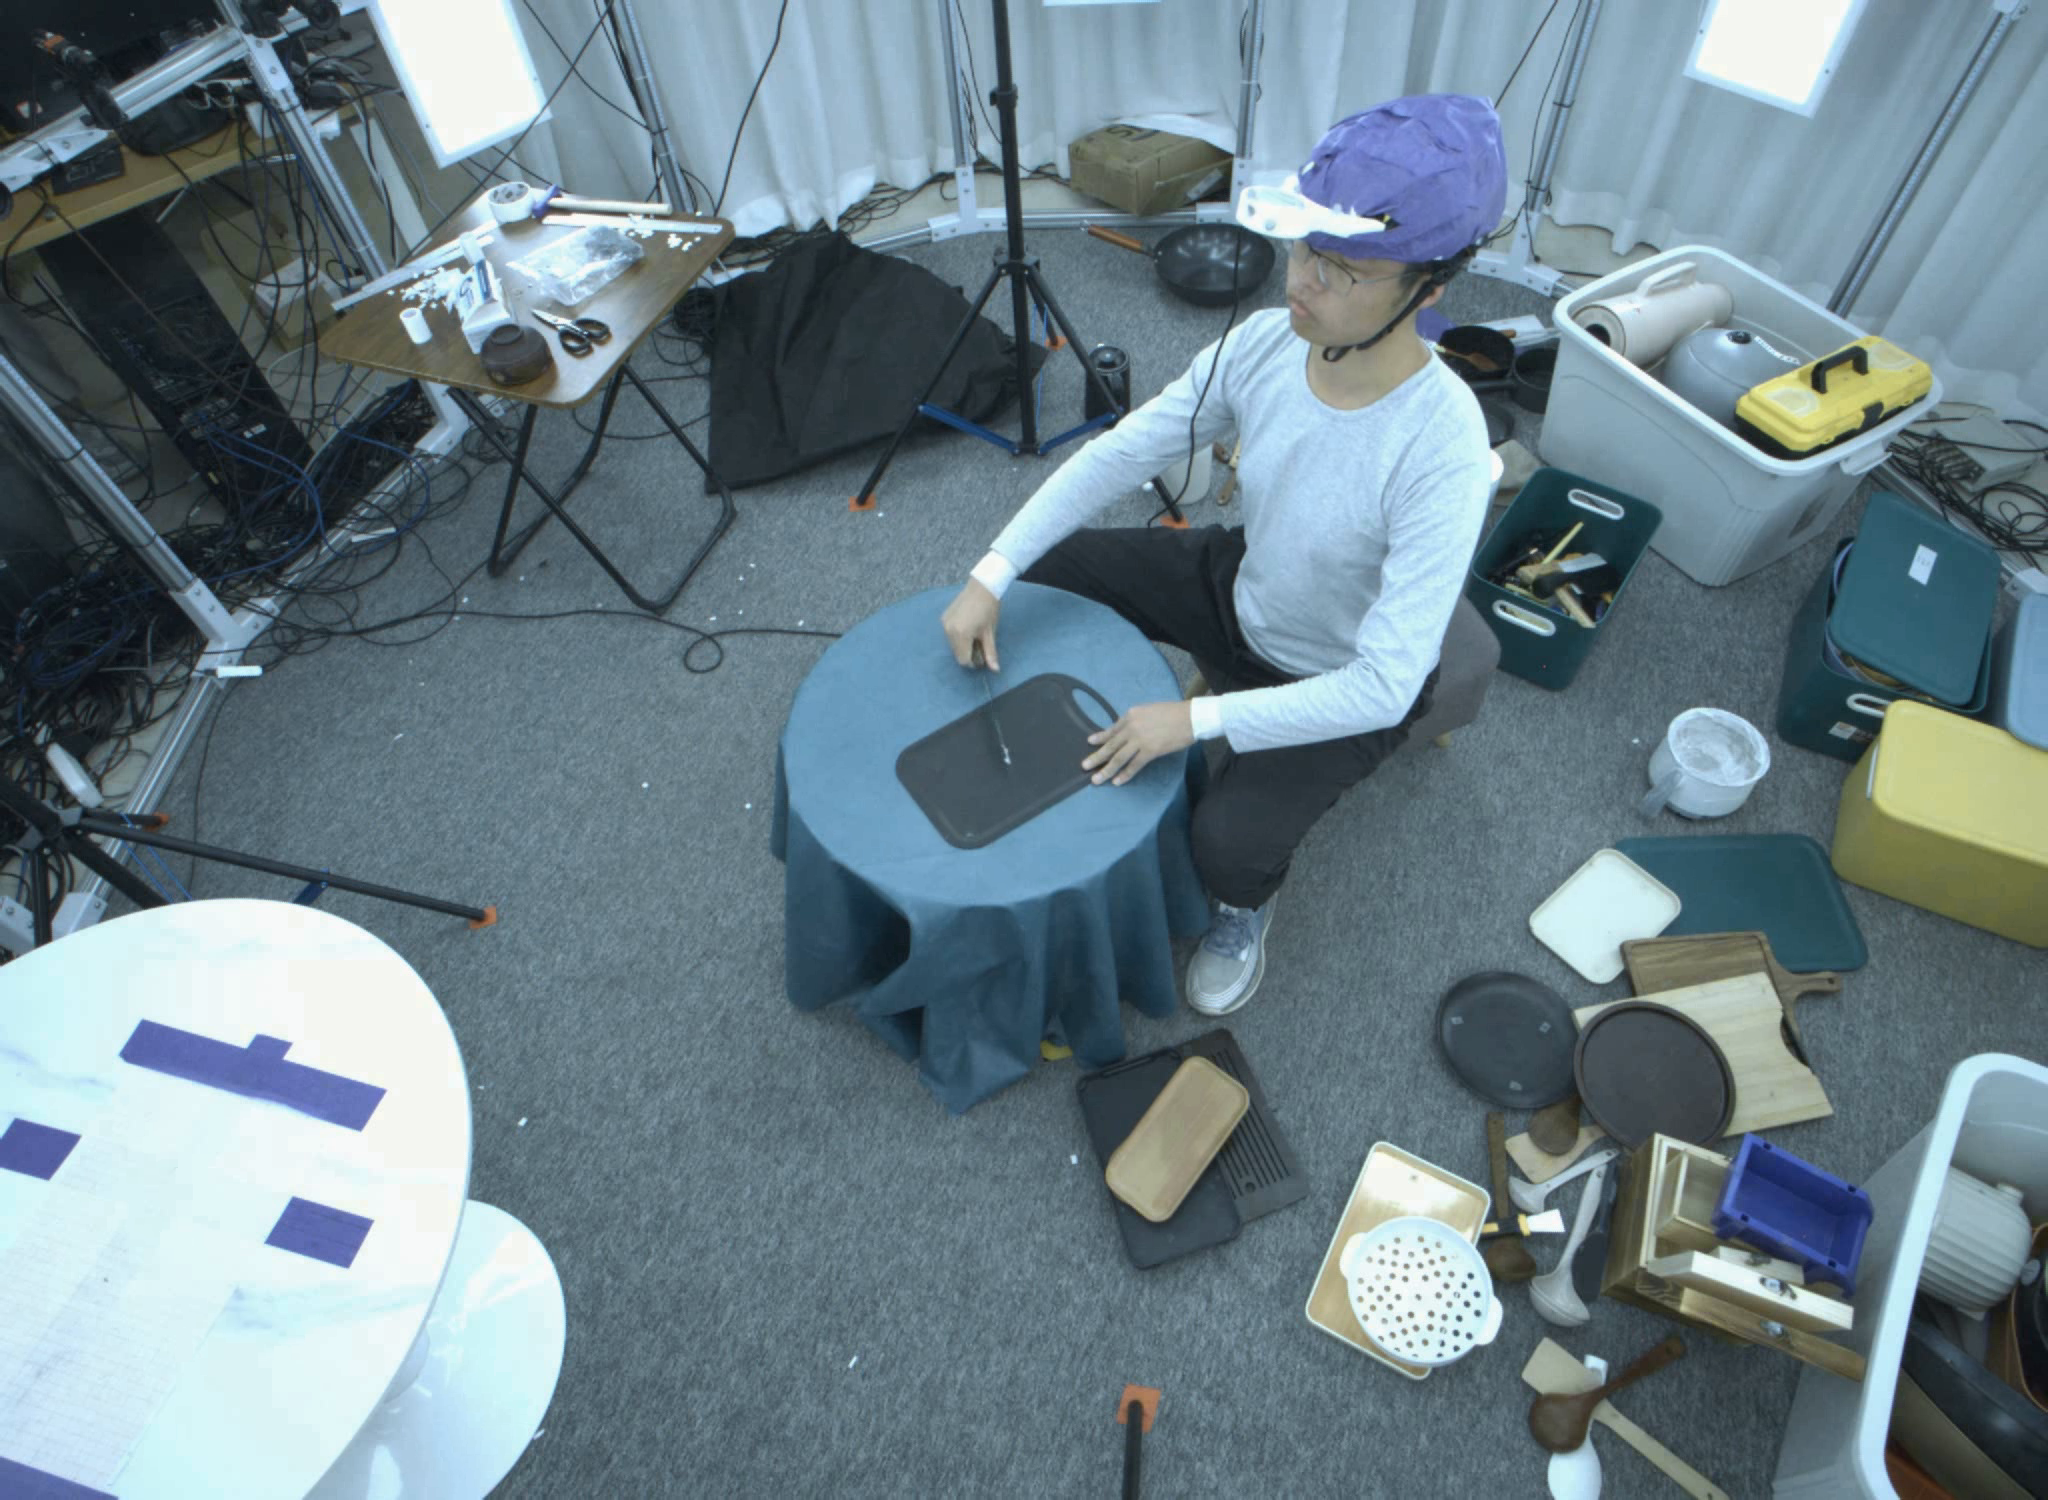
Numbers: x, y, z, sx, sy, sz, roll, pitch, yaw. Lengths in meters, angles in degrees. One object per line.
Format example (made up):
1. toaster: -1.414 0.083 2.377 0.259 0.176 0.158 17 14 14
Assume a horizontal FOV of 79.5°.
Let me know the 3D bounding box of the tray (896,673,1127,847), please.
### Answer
1. tray: -0.012 0.003 1.790 0.328 0.010 0.207 -29 59 -18

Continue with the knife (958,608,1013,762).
1. knife: -0.055 -0.100 1.827 0.020 0.051 0.284 -21 59 4
